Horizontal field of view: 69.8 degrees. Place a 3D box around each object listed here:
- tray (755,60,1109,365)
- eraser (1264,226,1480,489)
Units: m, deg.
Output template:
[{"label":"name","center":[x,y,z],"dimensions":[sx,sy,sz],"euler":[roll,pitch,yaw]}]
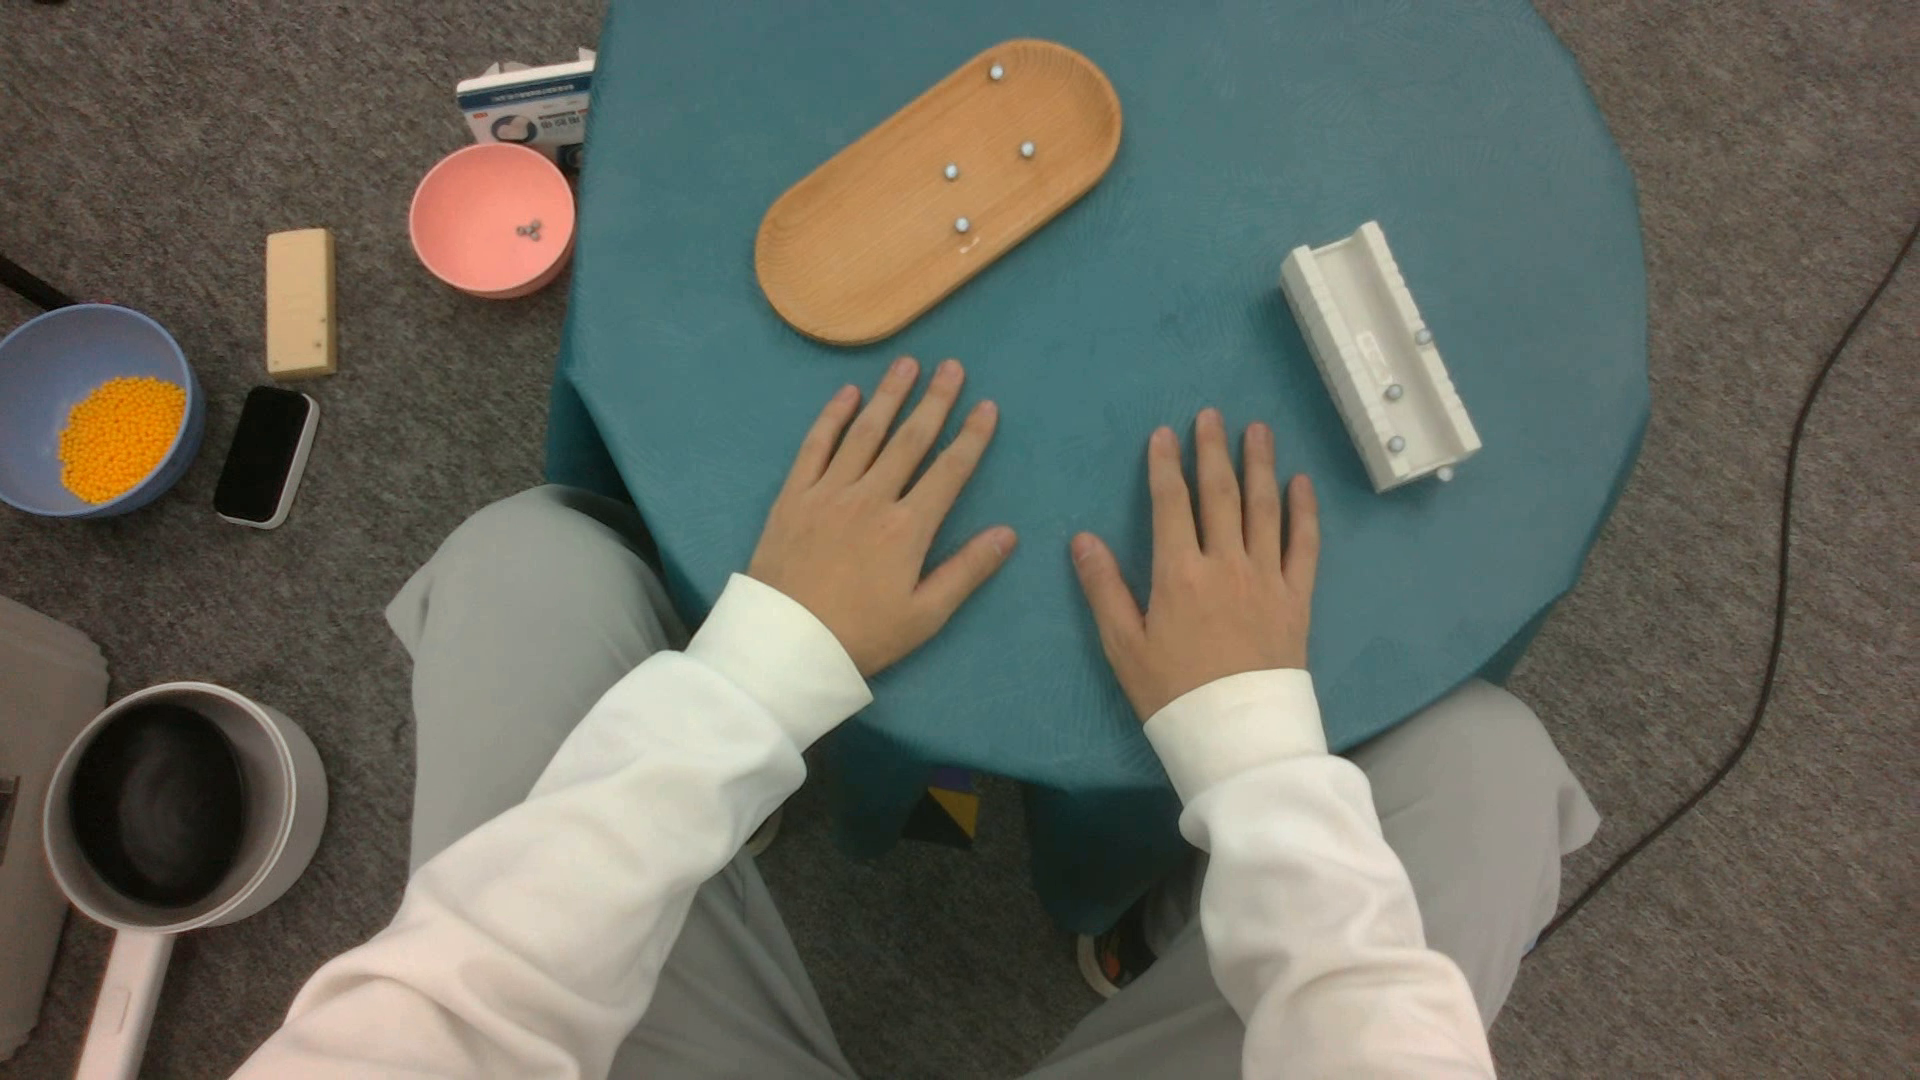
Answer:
[{"label":"tray","center":[-0.014,-0.187,0.783],"dimensions":[0.231,0.020,0.102],"euler":[-40,79,-9]},{"label":"eraser","center":[0.220,-0.098,0.747],"dimensions":[0.050,0.046,0.134],"euler":[-27,78,-2]}]
